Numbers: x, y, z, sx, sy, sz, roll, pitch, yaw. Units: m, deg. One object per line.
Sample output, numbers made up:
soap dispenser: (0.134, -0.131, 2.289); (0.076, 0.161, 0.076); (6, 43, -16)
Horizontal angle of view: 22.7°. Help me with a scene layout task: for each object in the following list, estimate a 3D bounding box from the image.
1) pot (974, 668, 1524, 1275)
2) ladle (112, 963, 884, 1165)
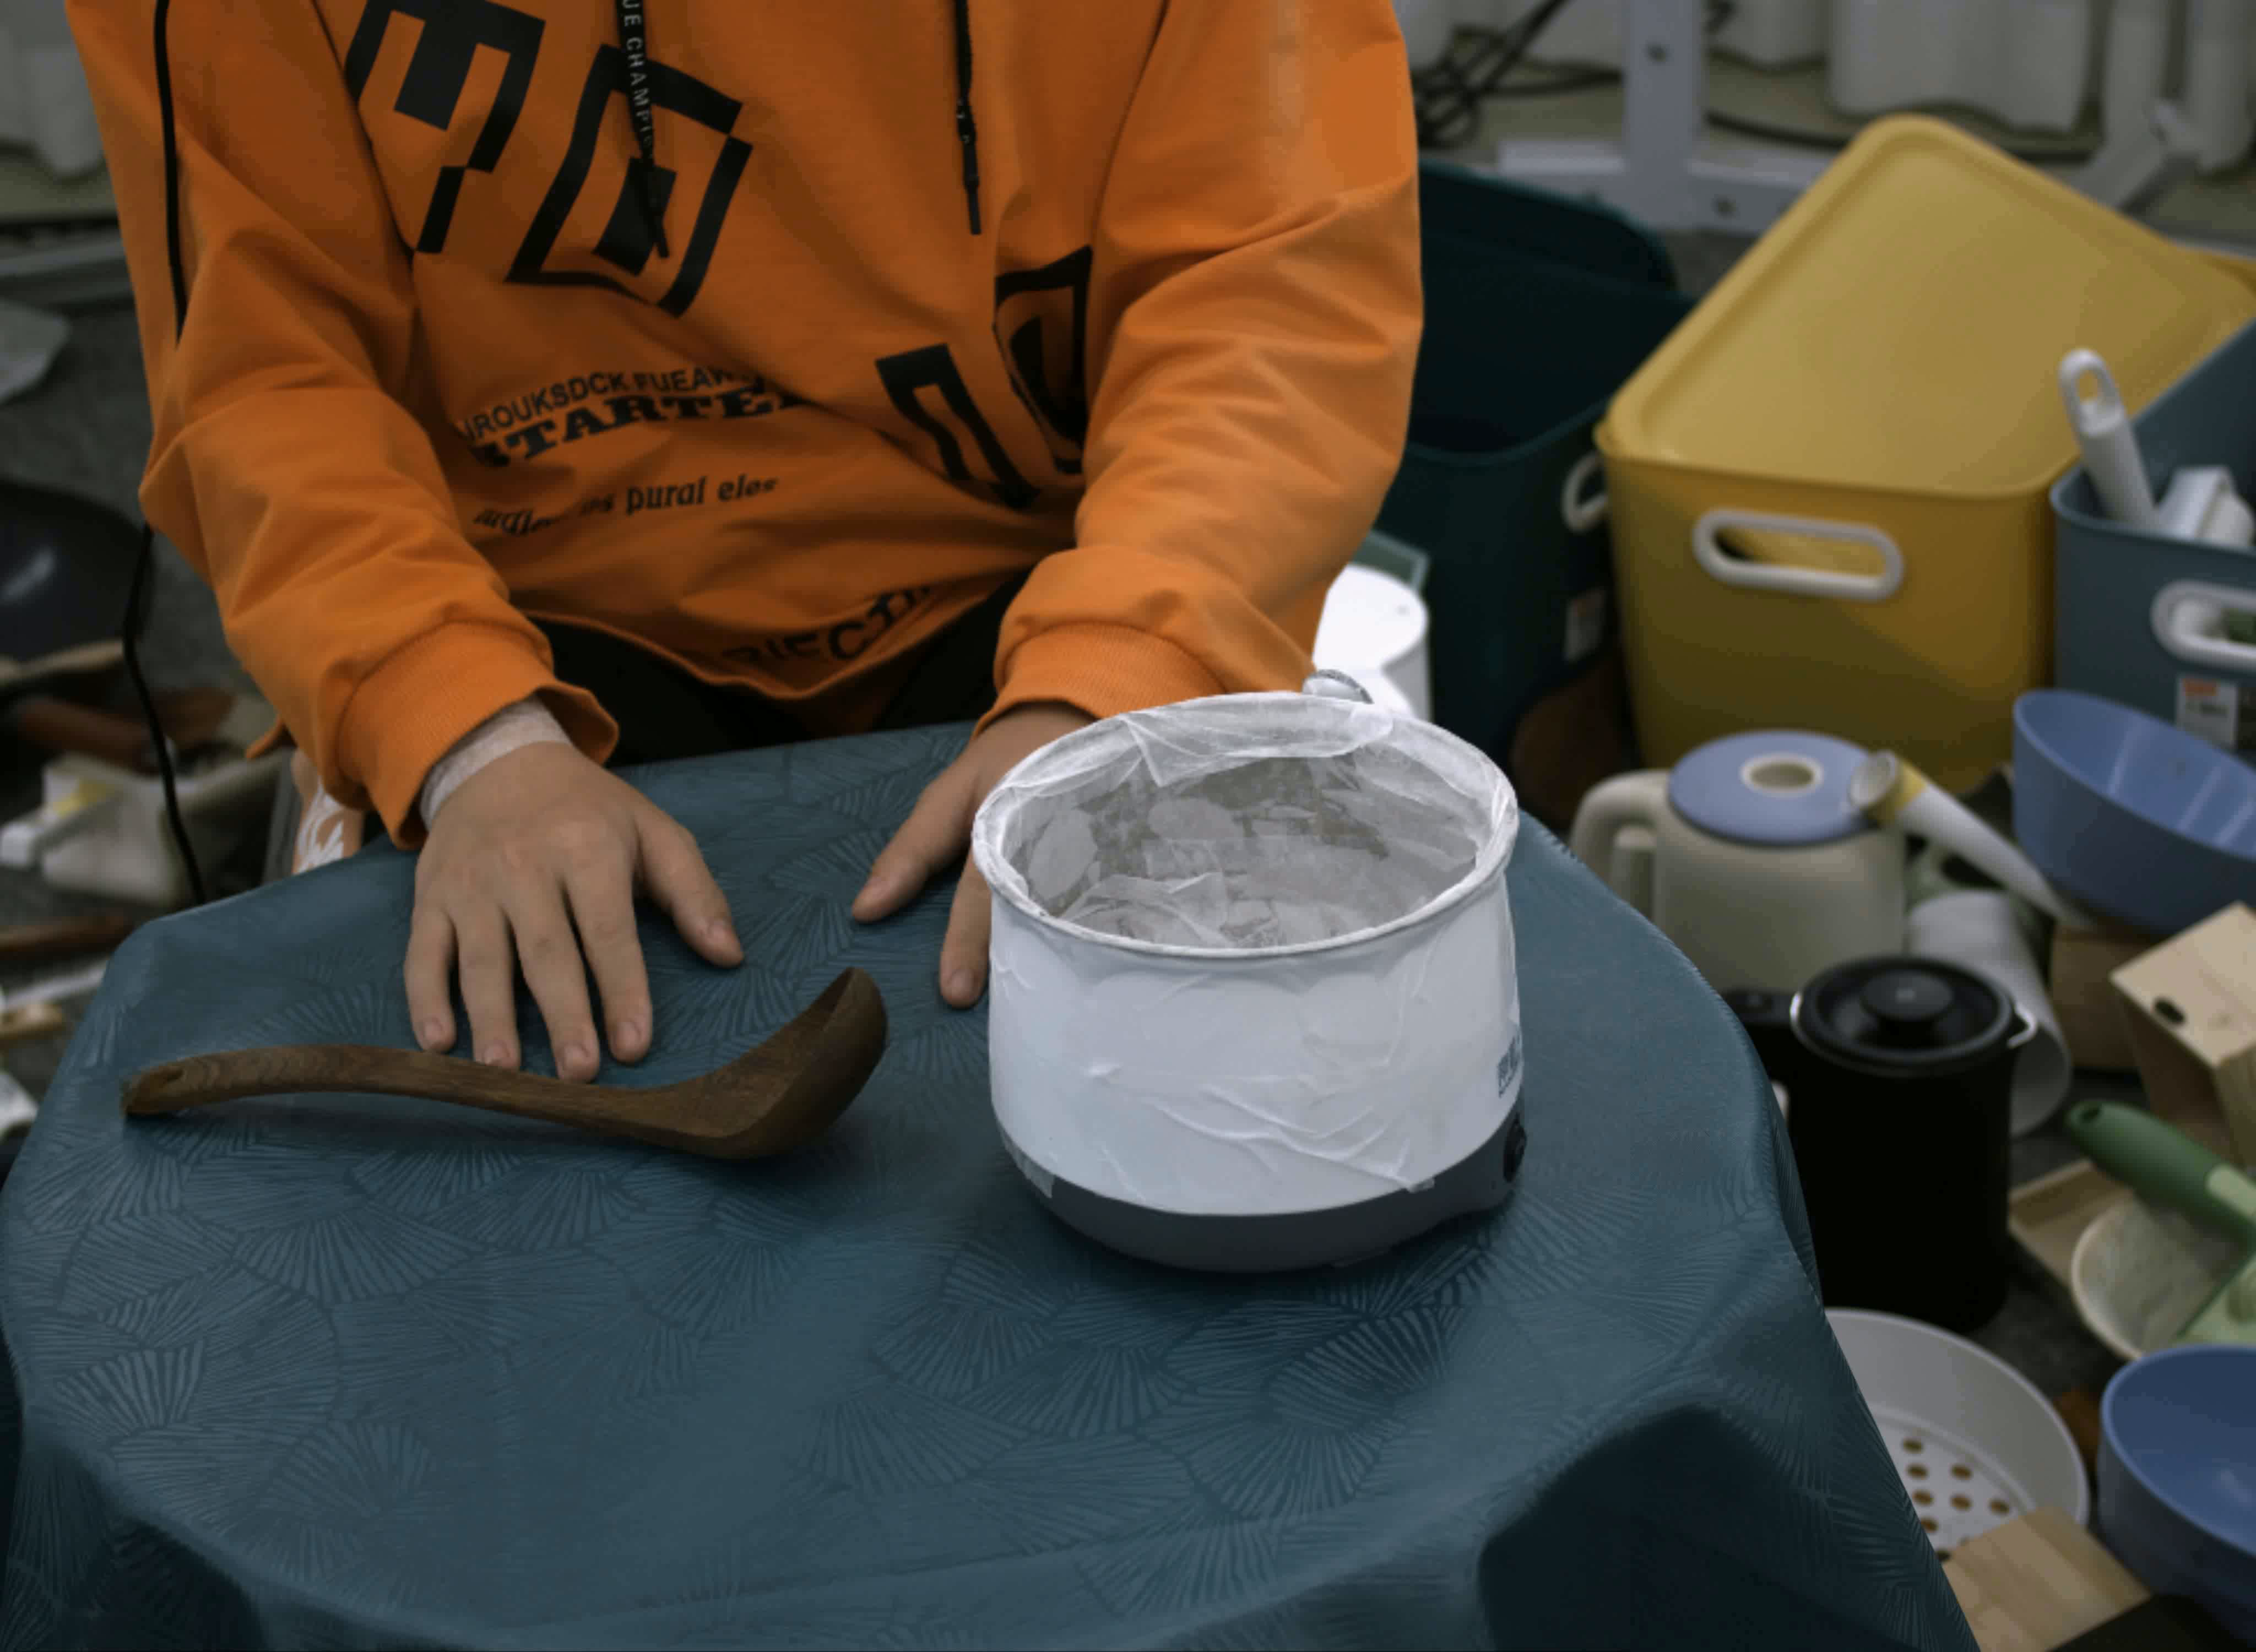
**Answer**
pot: (0.049, 0.040, 1.867); (0.177, 0.135, 0.238); (5, 29, 15)
ladle: (-0.216, 0.074, 1.900); (0.272, 0.070, 0.077); (4, 25, 11)
